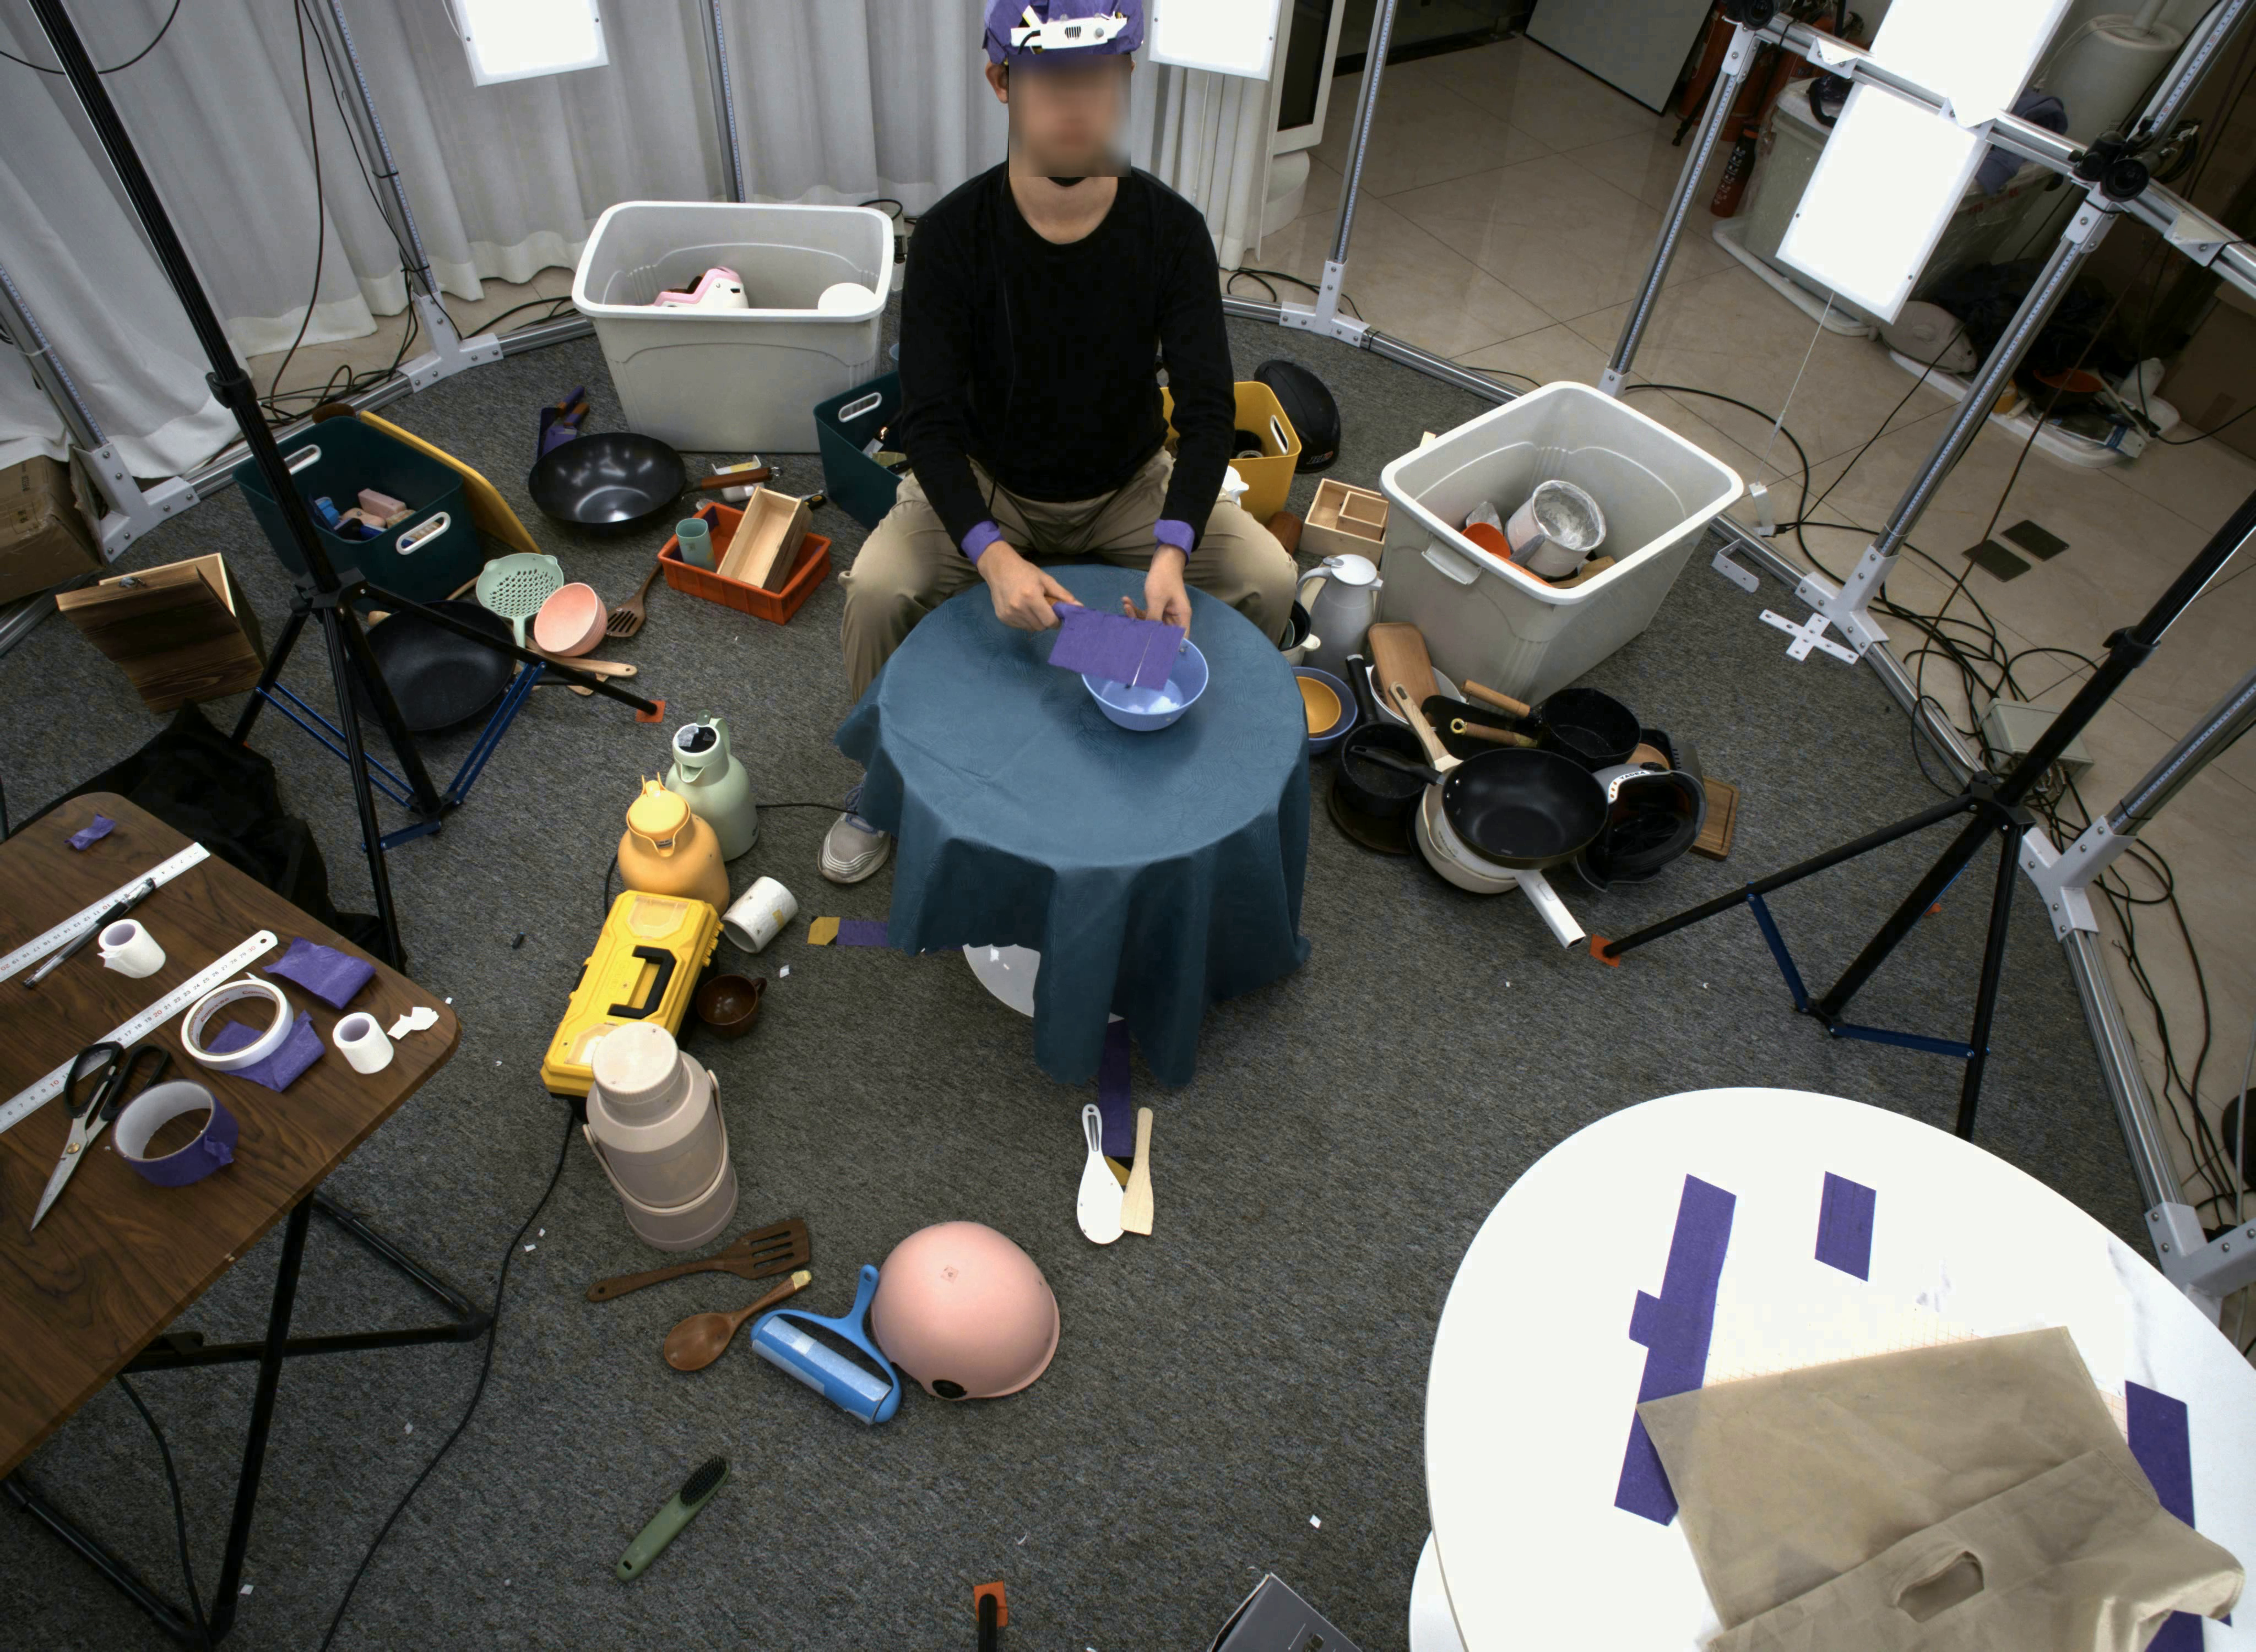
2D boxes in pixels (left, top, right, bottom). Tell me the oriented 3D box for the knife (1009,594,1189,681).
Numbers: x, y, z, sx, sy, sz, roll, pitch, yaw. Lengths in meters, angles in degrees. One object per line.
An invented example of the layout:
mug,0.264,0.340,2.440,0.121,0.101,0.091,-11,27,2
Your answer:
knife,-0.056,-0.261,1.769,0.318,0.031,0.104,17,81,39

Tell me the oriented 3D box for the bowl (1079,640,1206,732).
bowl,0.018,-0.195,1.794,0.176,0.068,0.180,2,47,-3
